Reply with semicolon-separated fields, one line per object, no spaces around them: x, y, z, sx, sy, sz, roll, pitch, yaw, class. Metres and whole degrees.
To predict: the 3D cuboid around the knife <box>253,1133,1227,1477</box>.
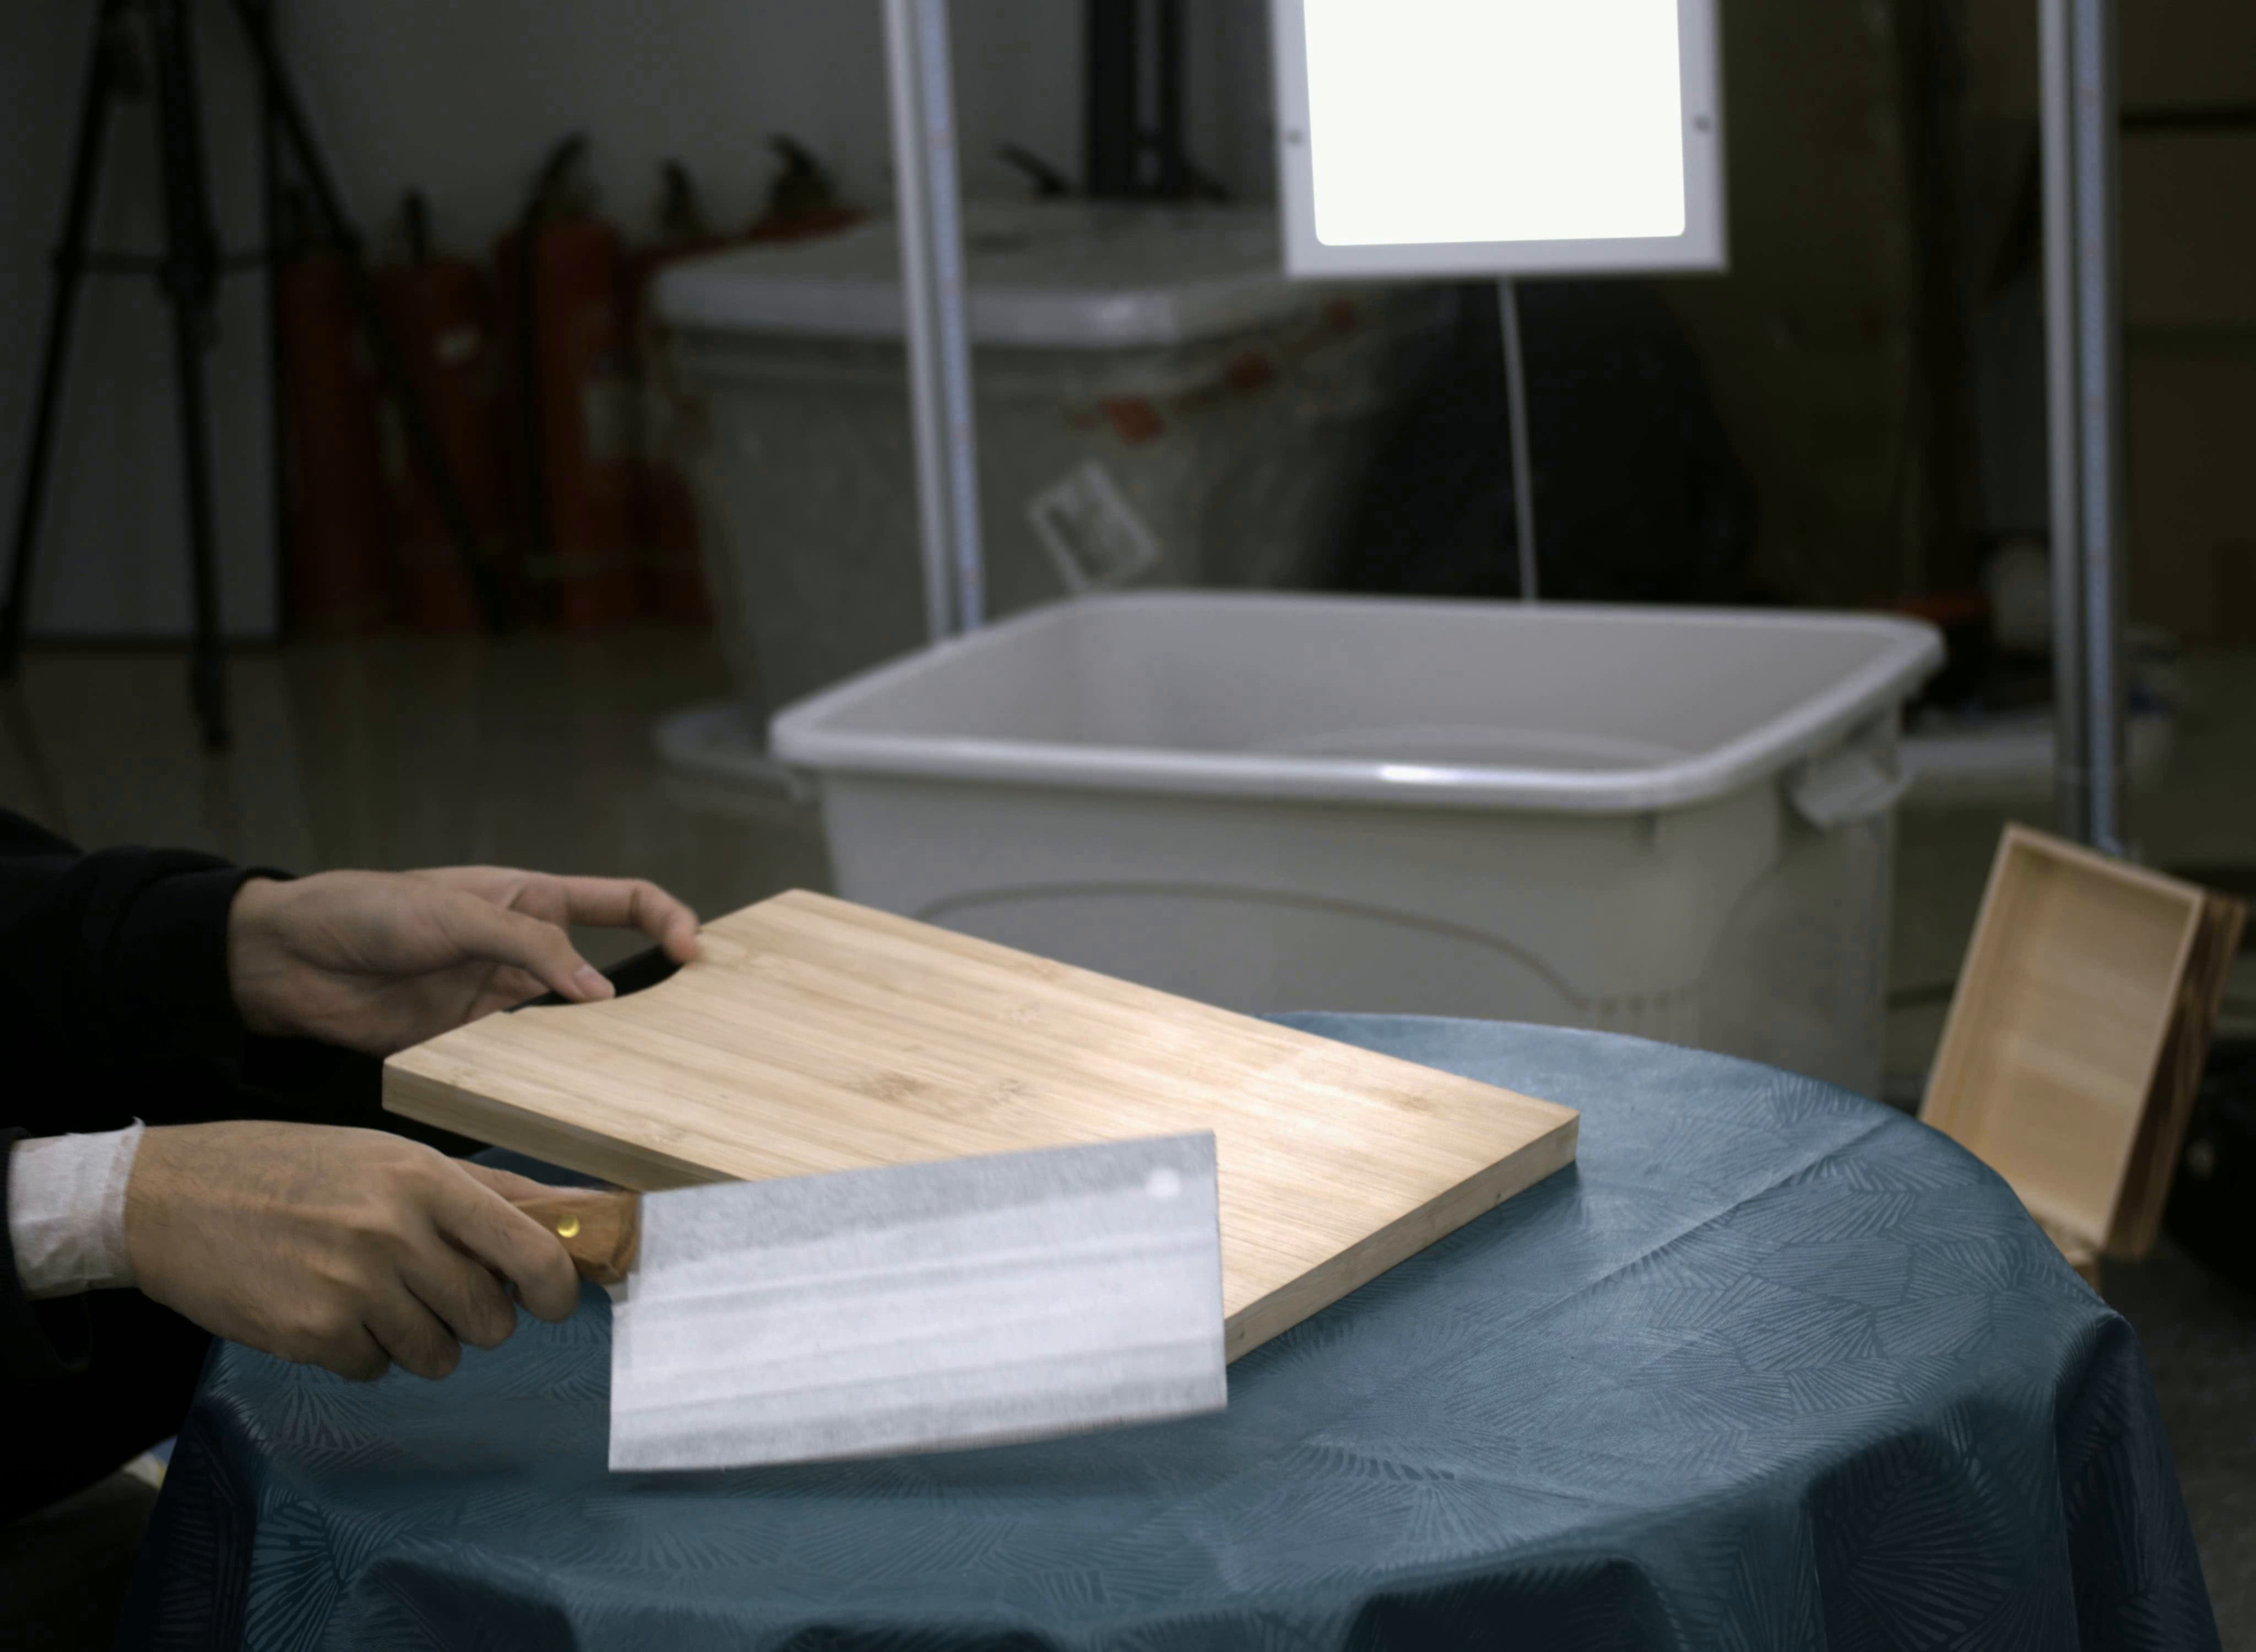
-0.120;0.149;1.663;0.308;0.093;0.021;-7;-25;13;knife

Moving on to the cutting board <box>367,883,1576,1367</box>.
-0.054;0.096;1.893;0.355;0.024;0.245;14;22;31;cutting board
